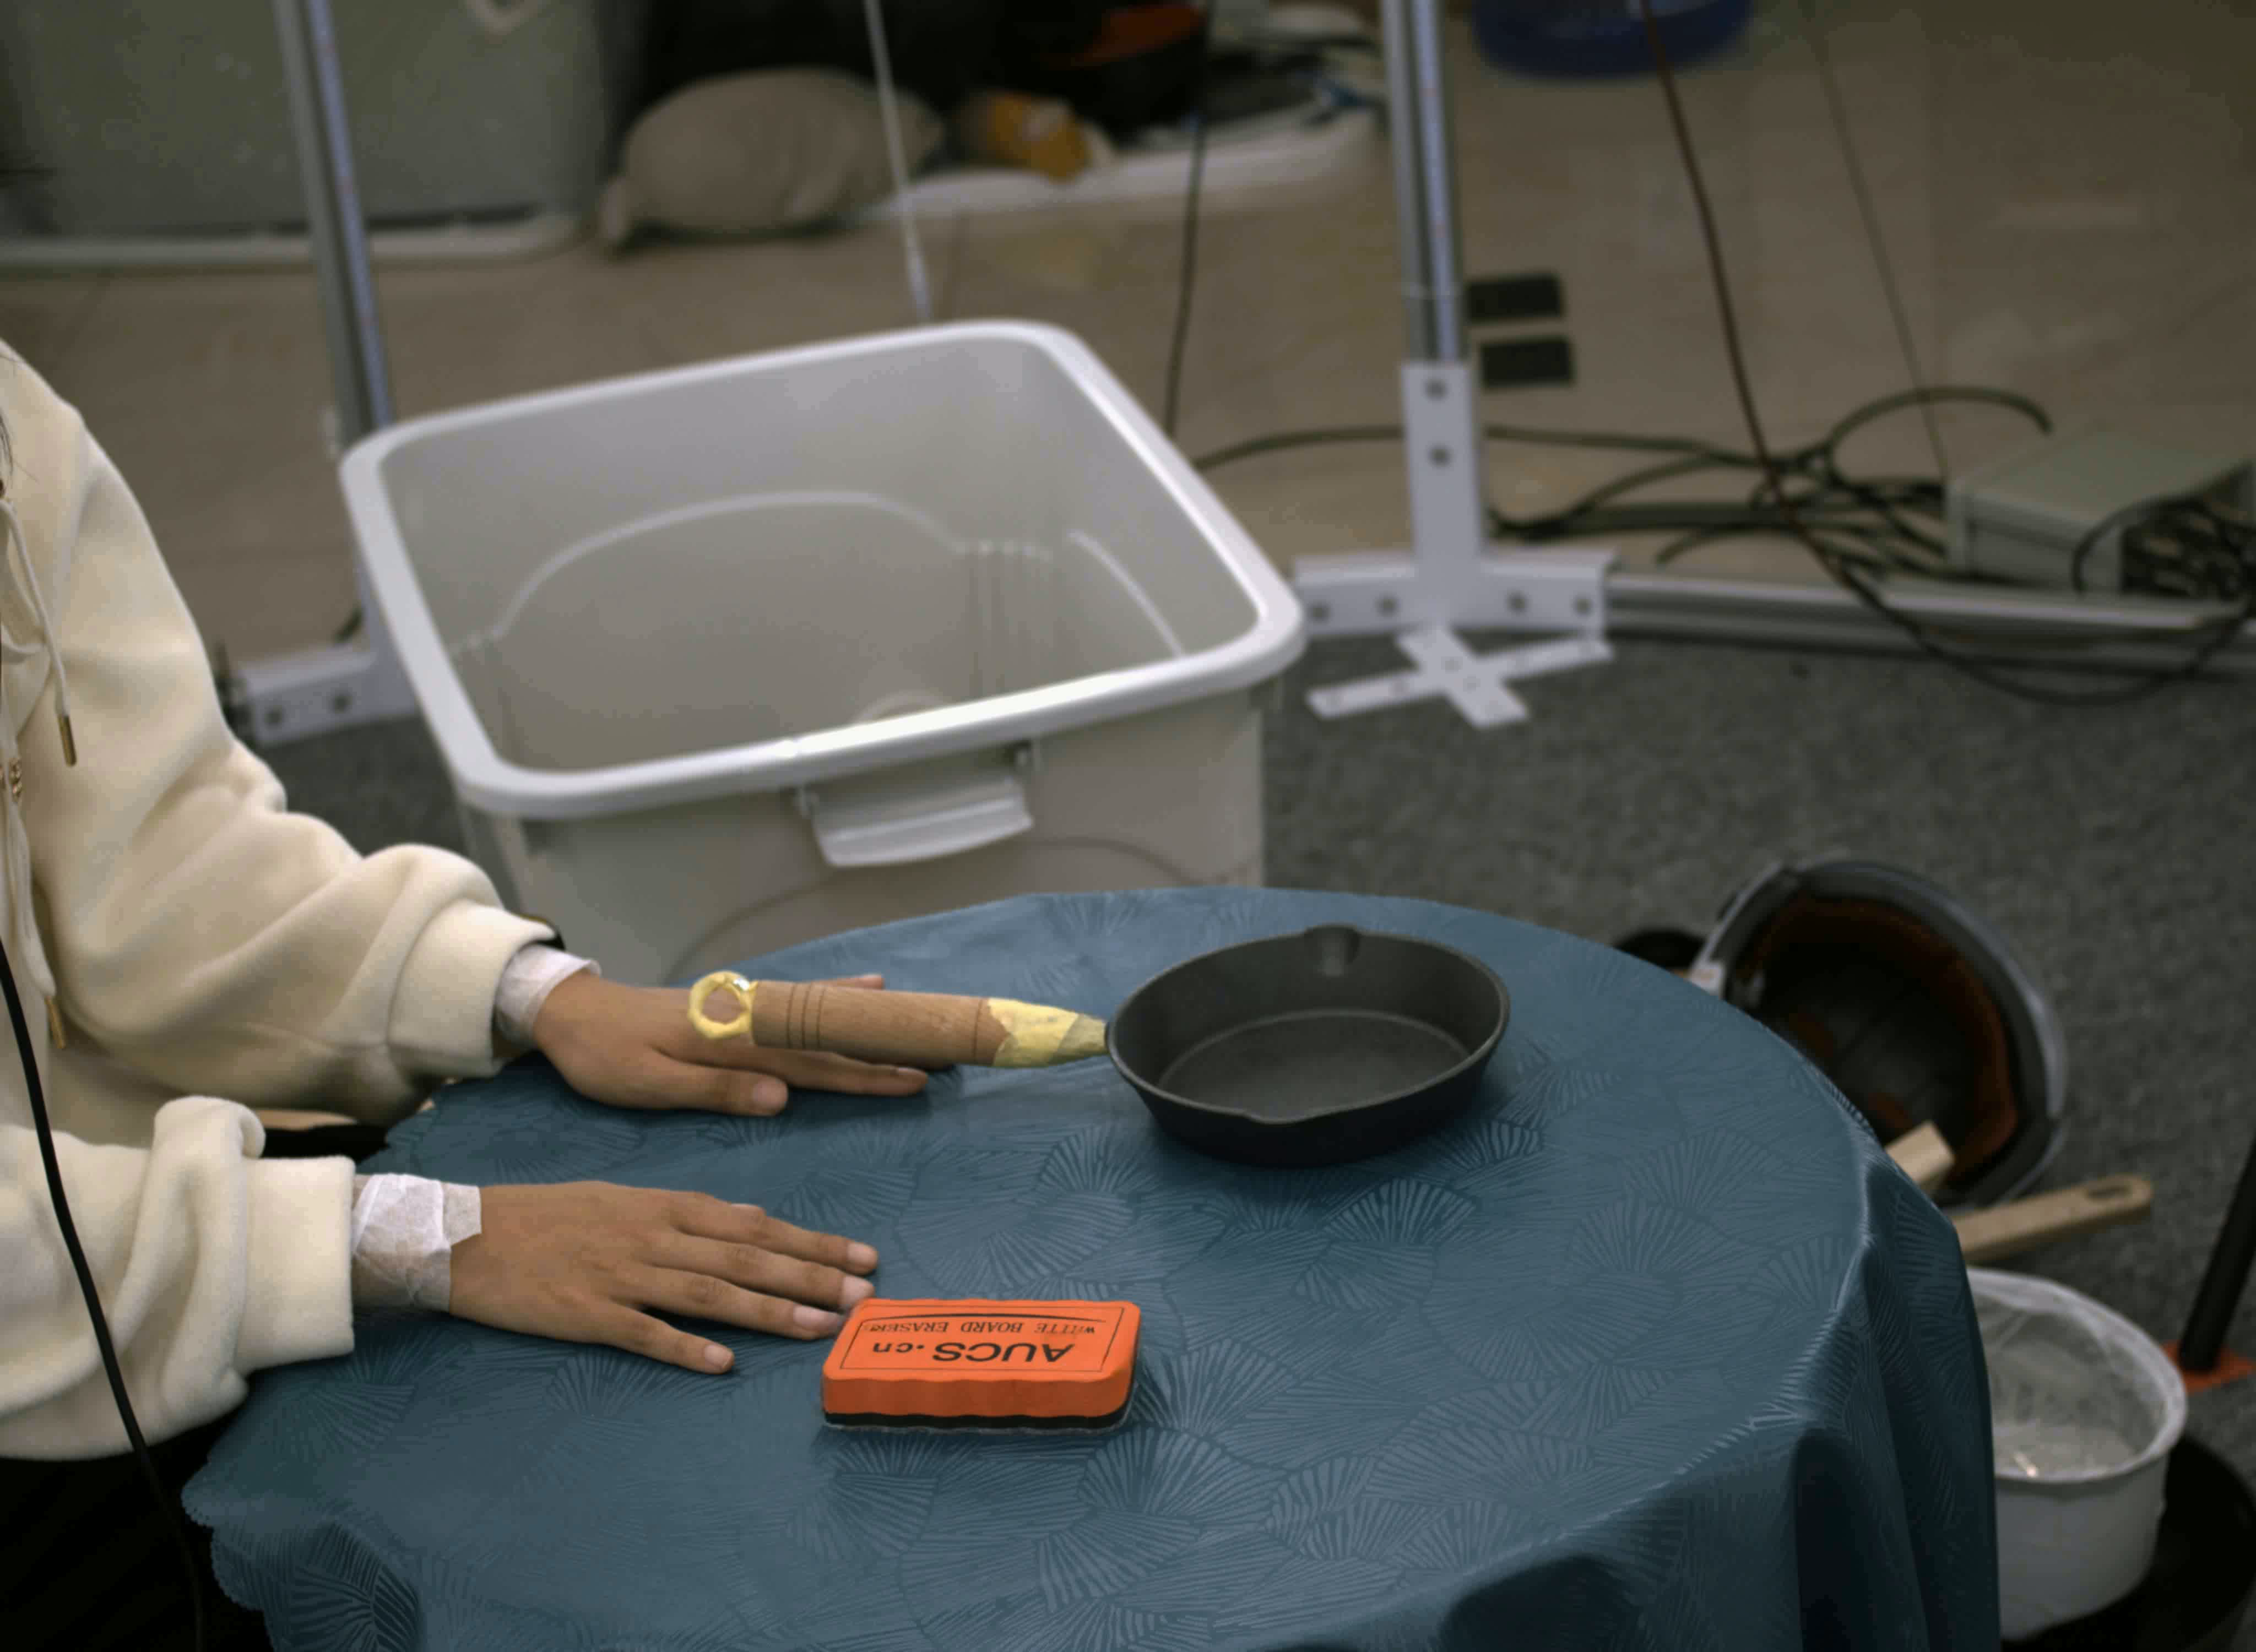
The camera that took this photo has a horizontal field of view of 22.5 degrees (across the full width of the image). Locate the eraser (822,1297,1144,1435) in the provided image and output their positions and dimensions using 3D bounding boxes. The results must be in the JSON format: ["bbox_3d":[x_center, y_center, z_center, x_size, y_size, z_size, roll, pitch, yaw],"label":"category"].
[{"bbox_3d":[-0.051,0.192,2.019,0.108,0.023,0.058,0,26,14],"label":"eraser"}]

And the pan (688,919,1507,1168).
[{"bbox_3d":[-0.013,0.082,2.212,0.323,0.050,0.166,0,26,11],"label":"pan"}]
